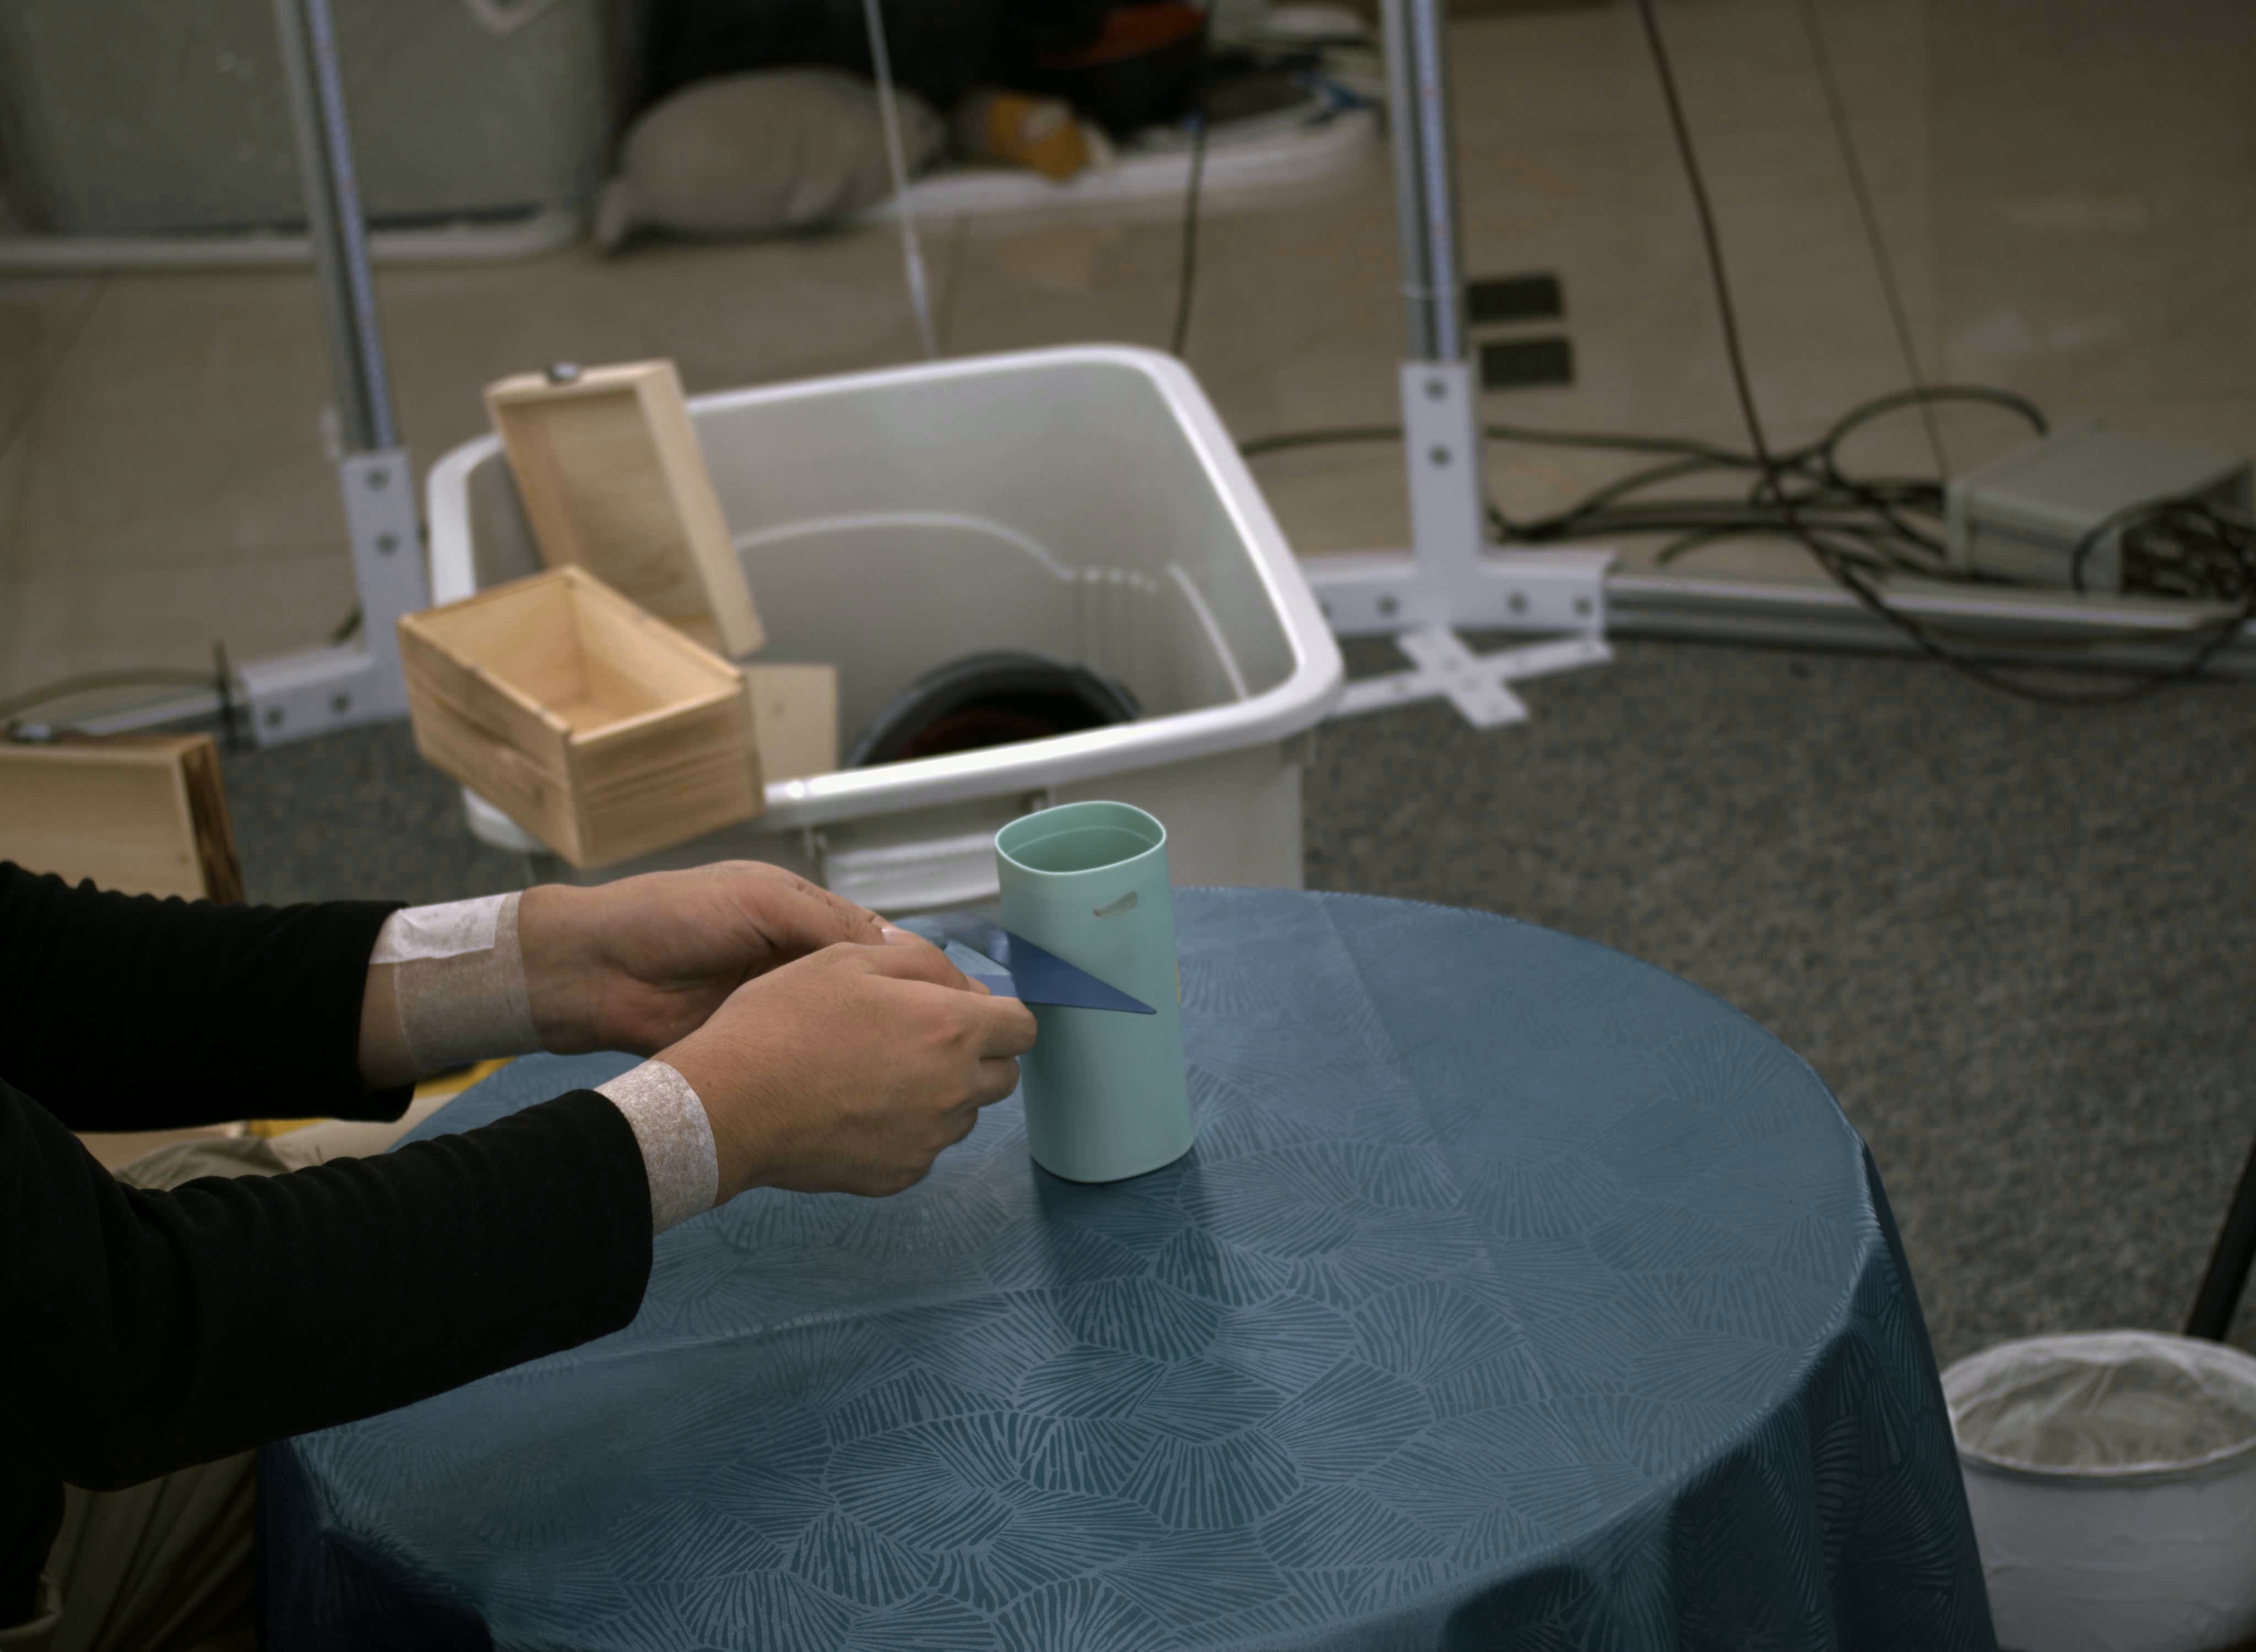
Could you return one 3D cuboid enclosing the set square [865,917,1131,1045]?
[{"bbox_3d":[-0.054,0.062,2.085,0.061,0.006,0.130,-19,28,-26],"label":"set square"}]

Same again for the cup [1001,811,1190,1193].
[{"bbox_3d":[-0.013,0.067,2.156,0.066,0.134,0.066,-4,25,2],"label":"cup"}]
